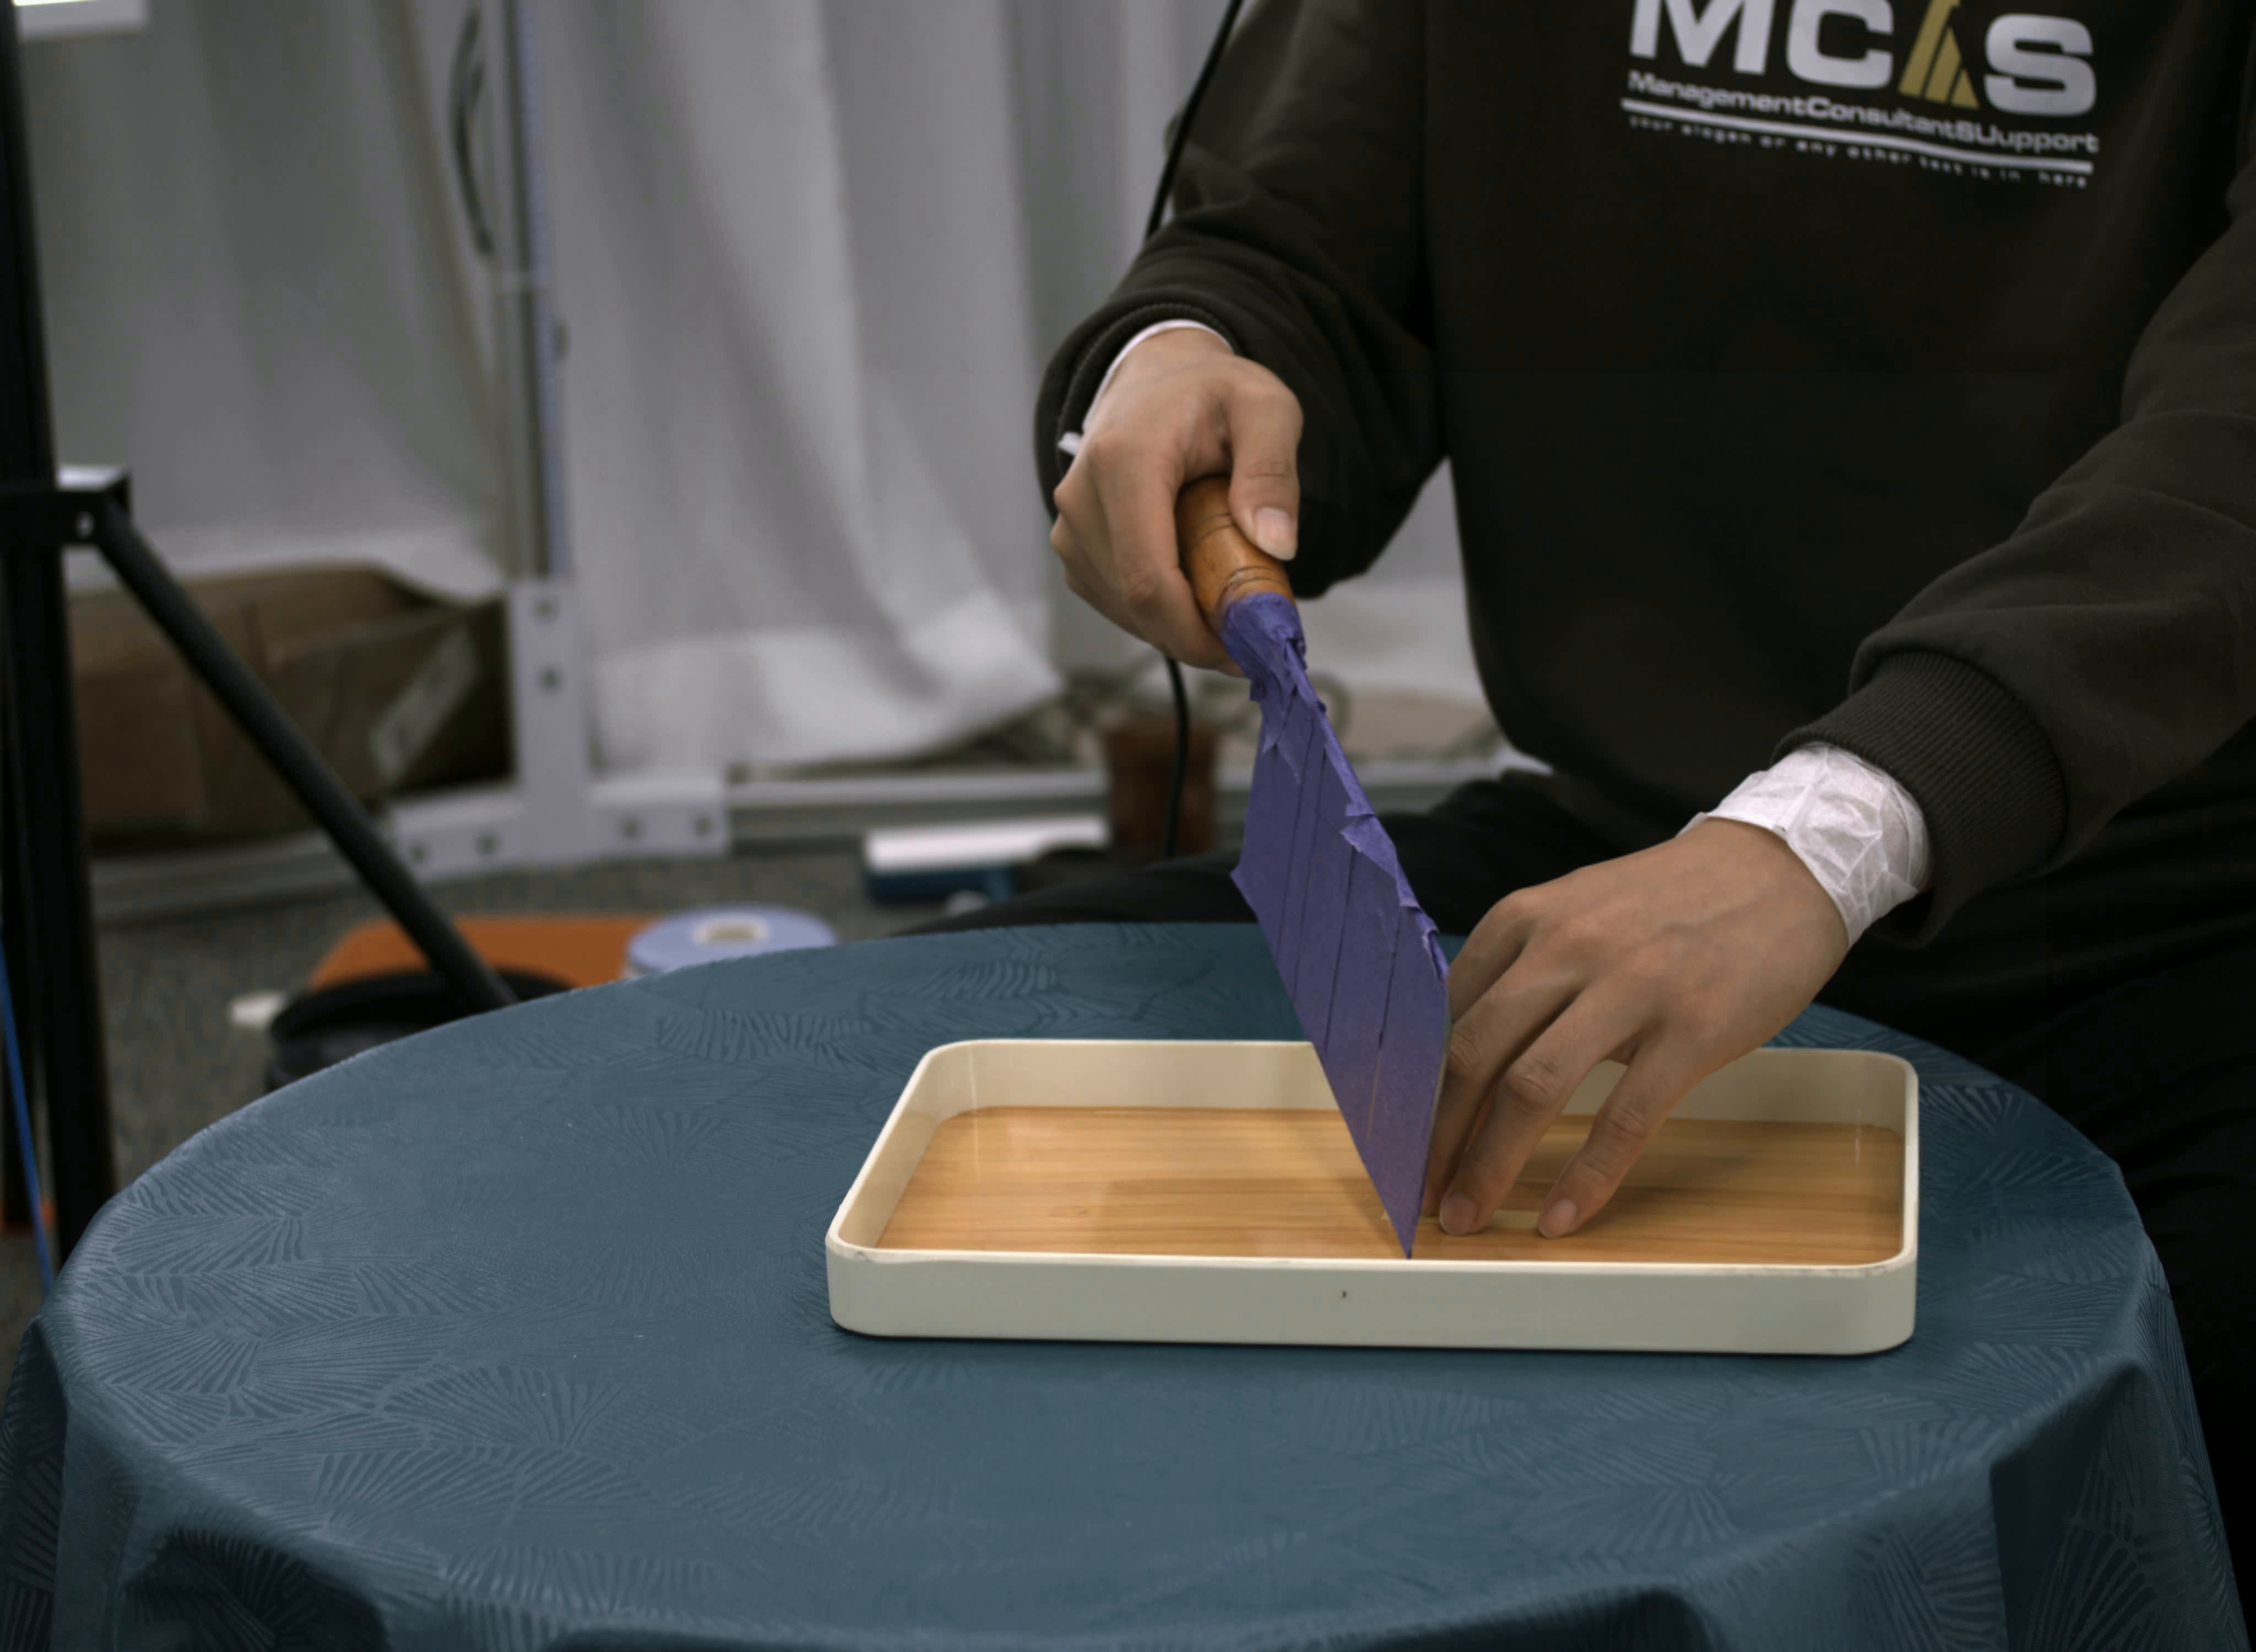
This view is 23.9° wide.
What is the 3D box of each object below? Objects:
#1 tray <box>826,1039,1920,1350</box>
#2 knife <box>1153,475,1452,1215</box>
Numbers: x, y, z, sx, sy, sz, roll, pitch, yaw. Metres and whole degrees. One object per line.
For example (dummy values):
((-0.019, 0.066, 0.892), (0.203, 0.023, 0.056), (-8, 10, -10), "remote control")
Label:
((0.075, 0.104, 1.516), (0.301, 0.027, 0.191), (0, 16, 10), "tray")
((0.046, 0.002, 1.574), (0.032, 0.104, 0.320), (3, 28, -13), "knife")
